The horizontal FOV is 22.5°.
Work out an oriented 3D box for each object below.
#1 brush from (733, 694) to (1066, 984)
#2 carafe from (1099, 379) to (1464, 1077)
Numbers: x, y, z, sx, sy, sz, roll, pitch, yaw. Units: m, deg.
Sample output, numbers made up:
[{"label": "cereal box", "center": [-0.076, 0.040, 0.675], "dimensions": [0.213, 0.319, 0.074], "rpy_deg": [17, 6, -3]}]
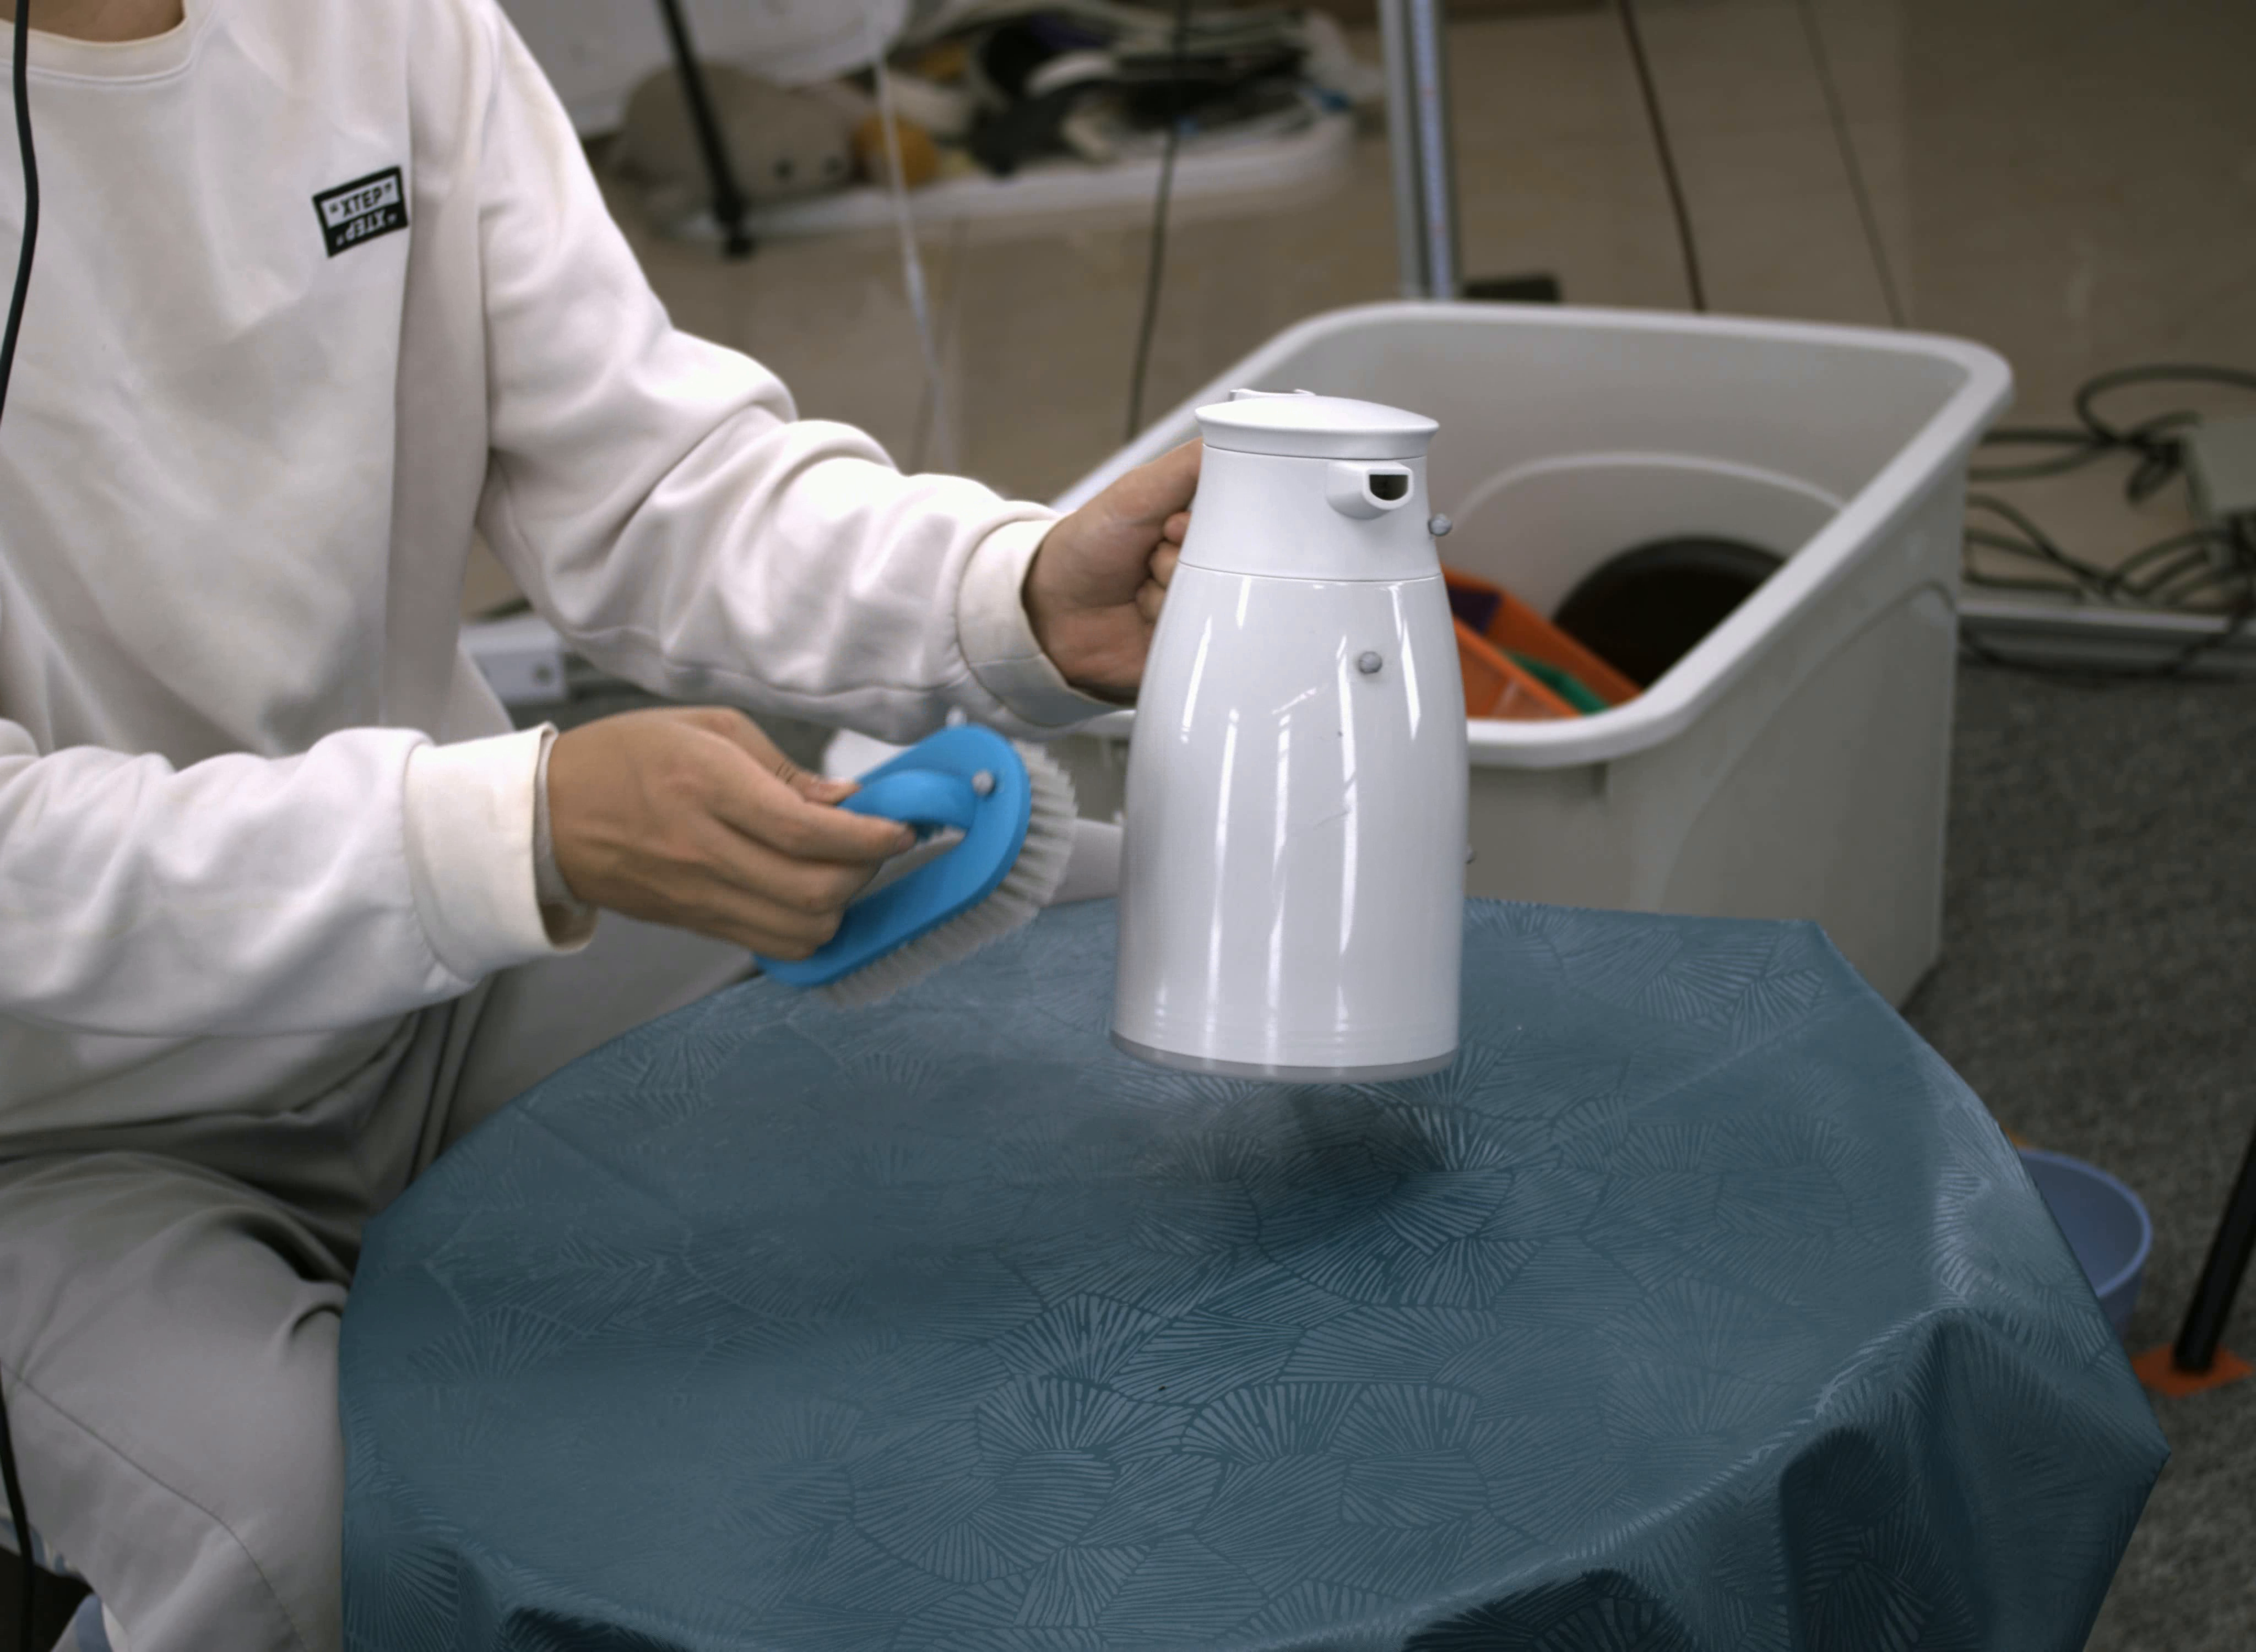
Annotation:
[{"label": "brush", "center": [-0.093, 0.004, 2.083], "dimensions": [0.142, 0.083, 0.064], "rpy_deg": [-24, -26, 33]}, {"label": "carafe", "center": [0.053, -0.043, 2.134], "dimensions": [0.132, 0.250, 0.166], "rpy_deg": [-2, 11, -26]}]
